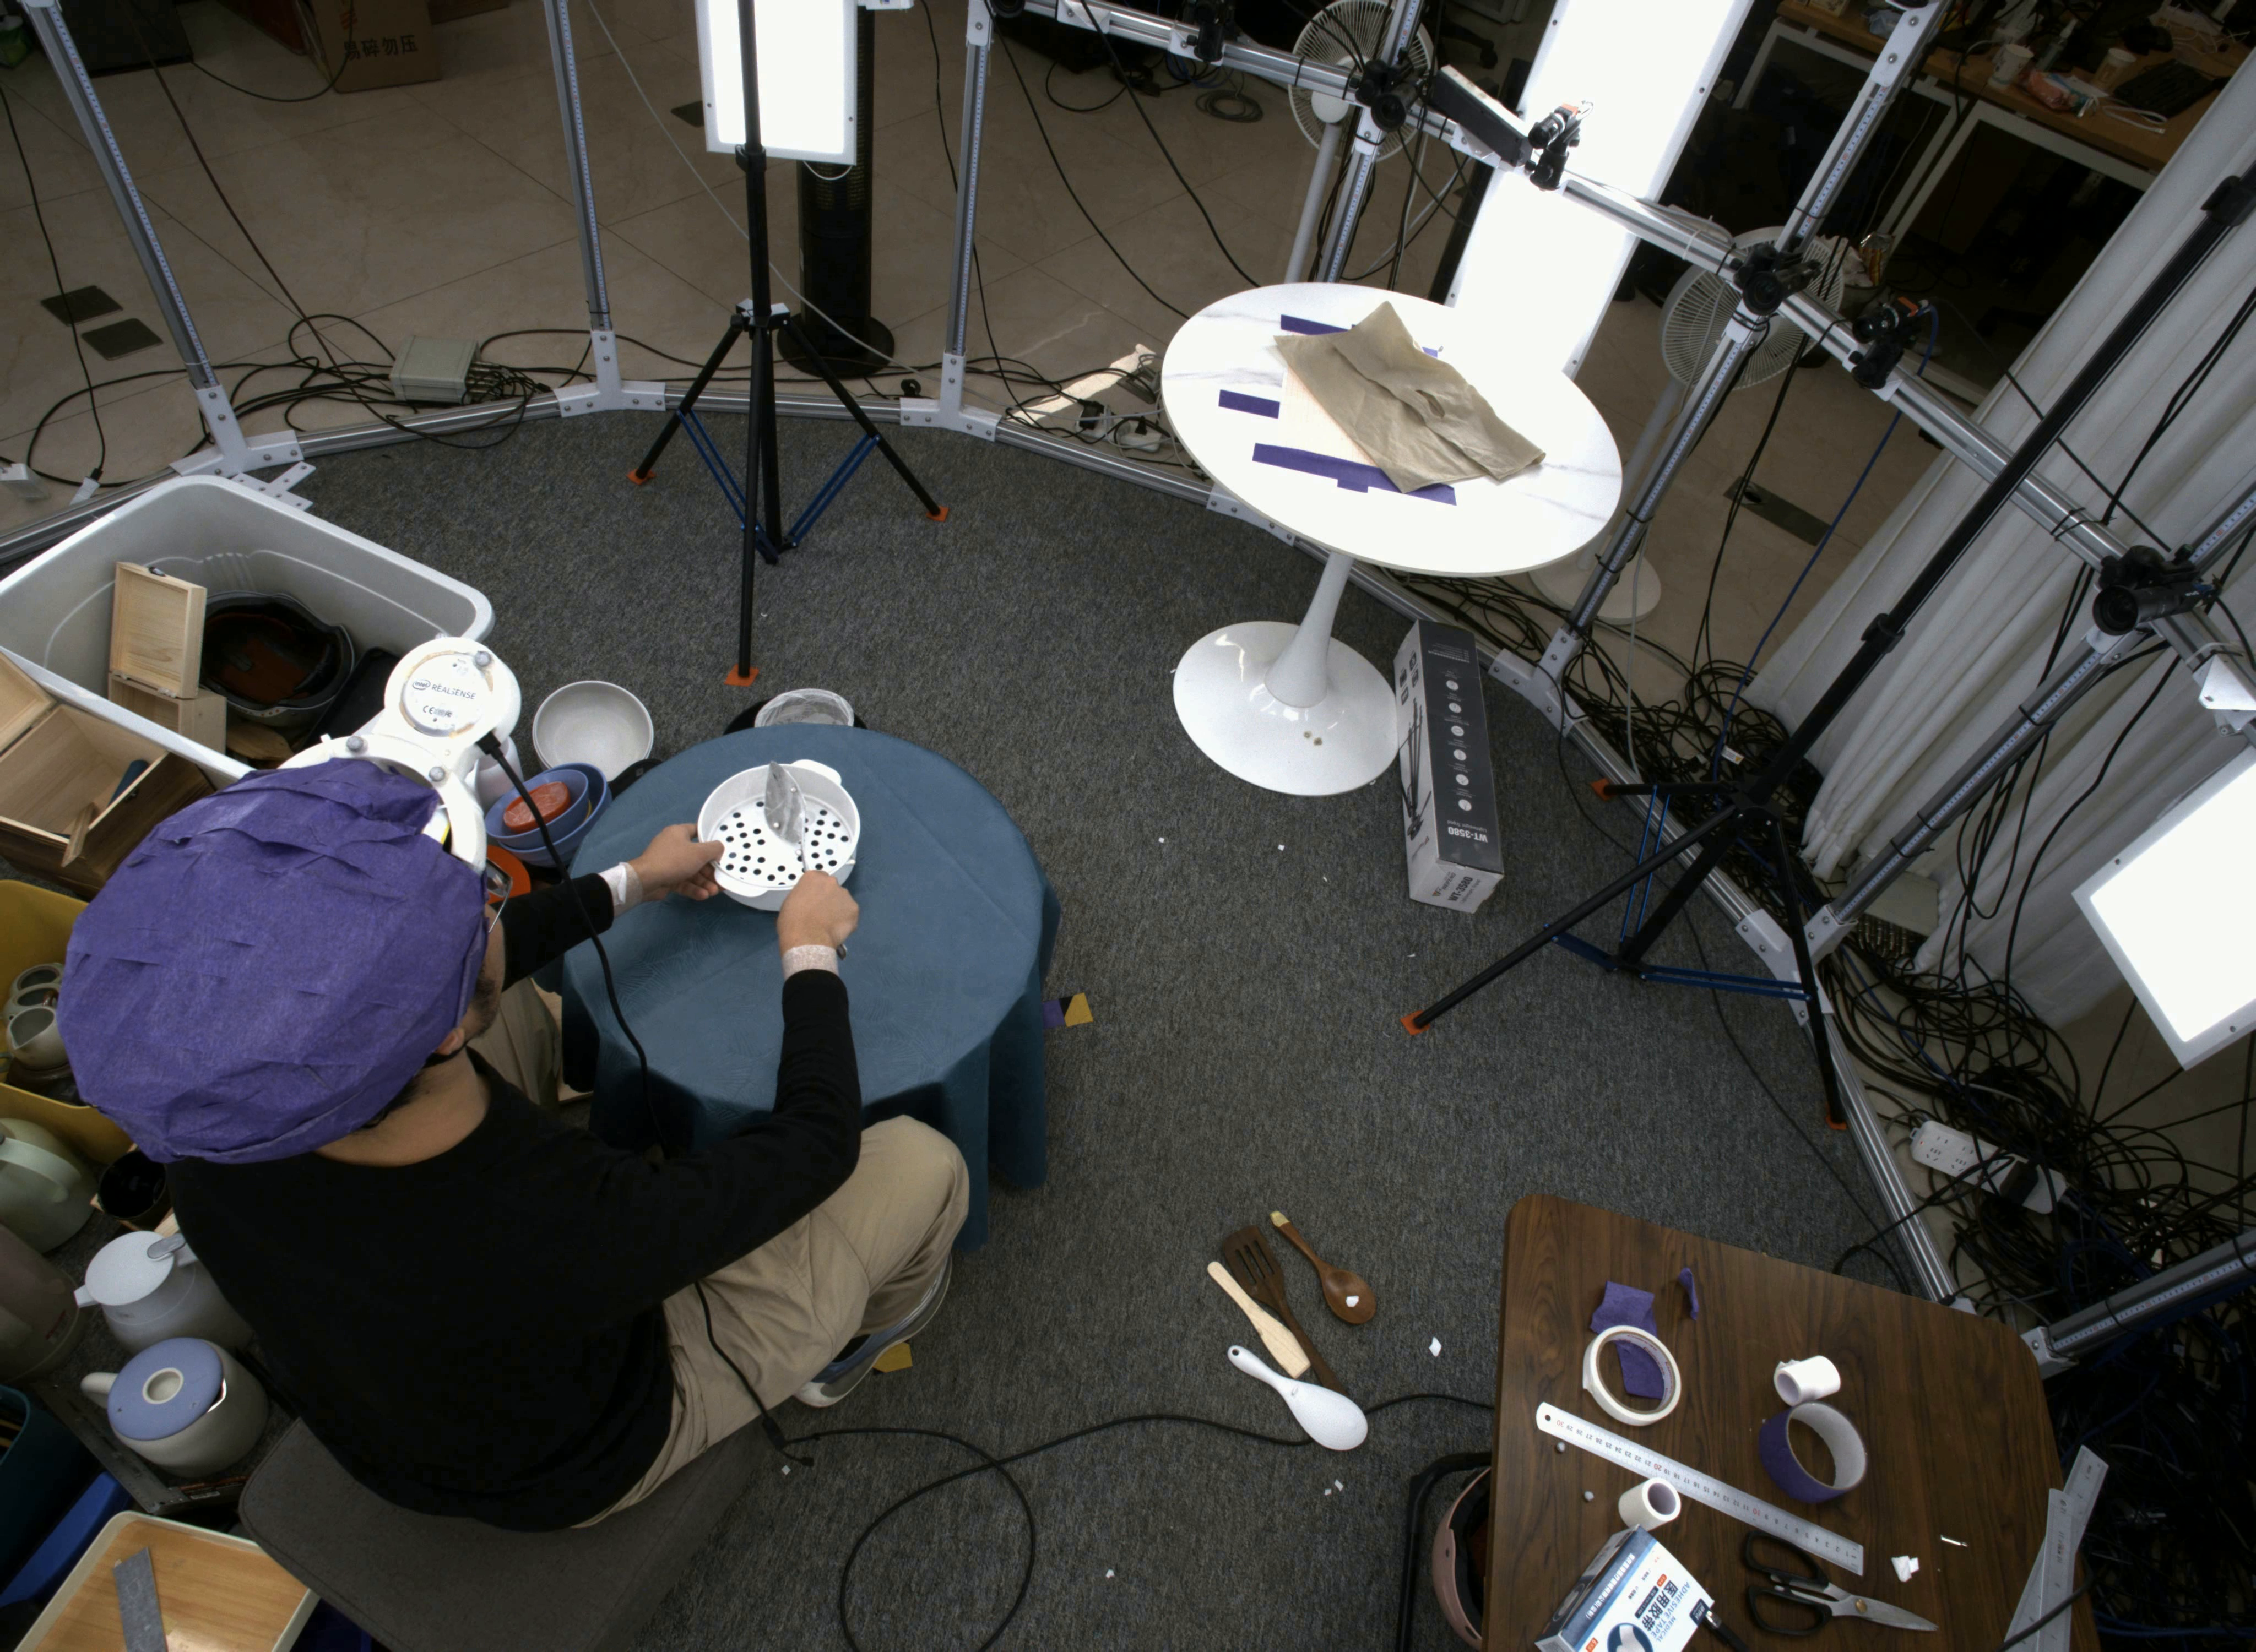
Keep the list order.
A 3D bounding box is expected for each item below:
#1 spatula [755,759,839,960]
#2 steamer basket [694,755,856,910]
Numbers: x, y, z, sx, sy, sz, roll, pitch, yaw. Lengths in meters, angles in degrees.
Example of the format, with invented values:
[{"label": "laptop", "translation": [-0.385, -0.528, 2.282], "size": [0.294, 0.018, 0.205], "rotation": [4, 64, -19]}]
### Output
[{"label": "spatula", "translation": [-0.401, 0.042, 1.561], "size": [0.045, 0.101, 0.352], "rotation": [2, 32, -26]}, {"label": "steamer basket", "translation": [-0.449, 0.012, 1.658], "size": [0.199, 0.070, 0.228], "rotation": [22, 53, 4]}]
